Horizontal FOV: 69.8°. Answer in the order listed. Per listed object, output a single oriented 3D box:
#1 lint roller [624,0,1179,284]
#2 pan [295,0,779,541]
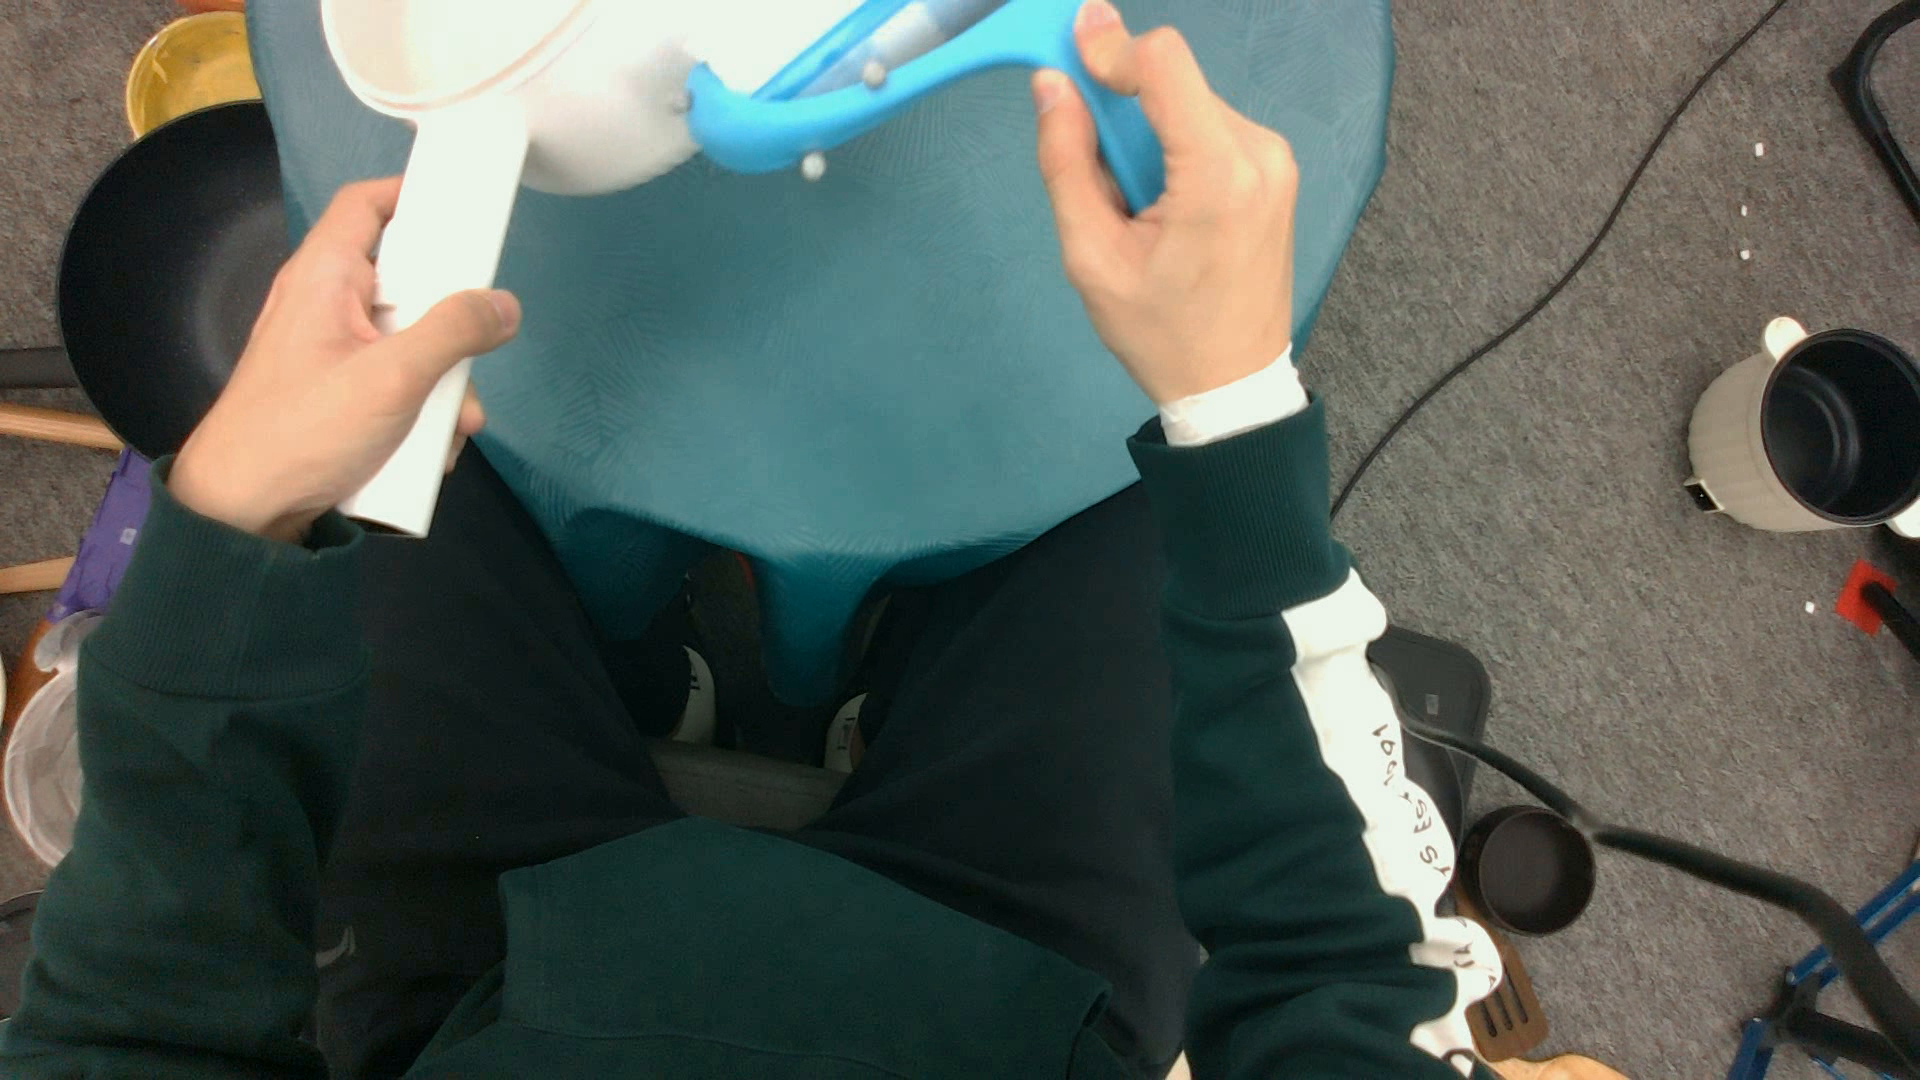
[{"bbox_3d":[0.013,-0.166,0.487,0.180,0.068,0.229,42,83,7],"label":"lint roller"},{"bbox_3d":[-0.175,-0.169,0.555,0.201,0.102,0.355,1,78,29],"label":"pan"}]
